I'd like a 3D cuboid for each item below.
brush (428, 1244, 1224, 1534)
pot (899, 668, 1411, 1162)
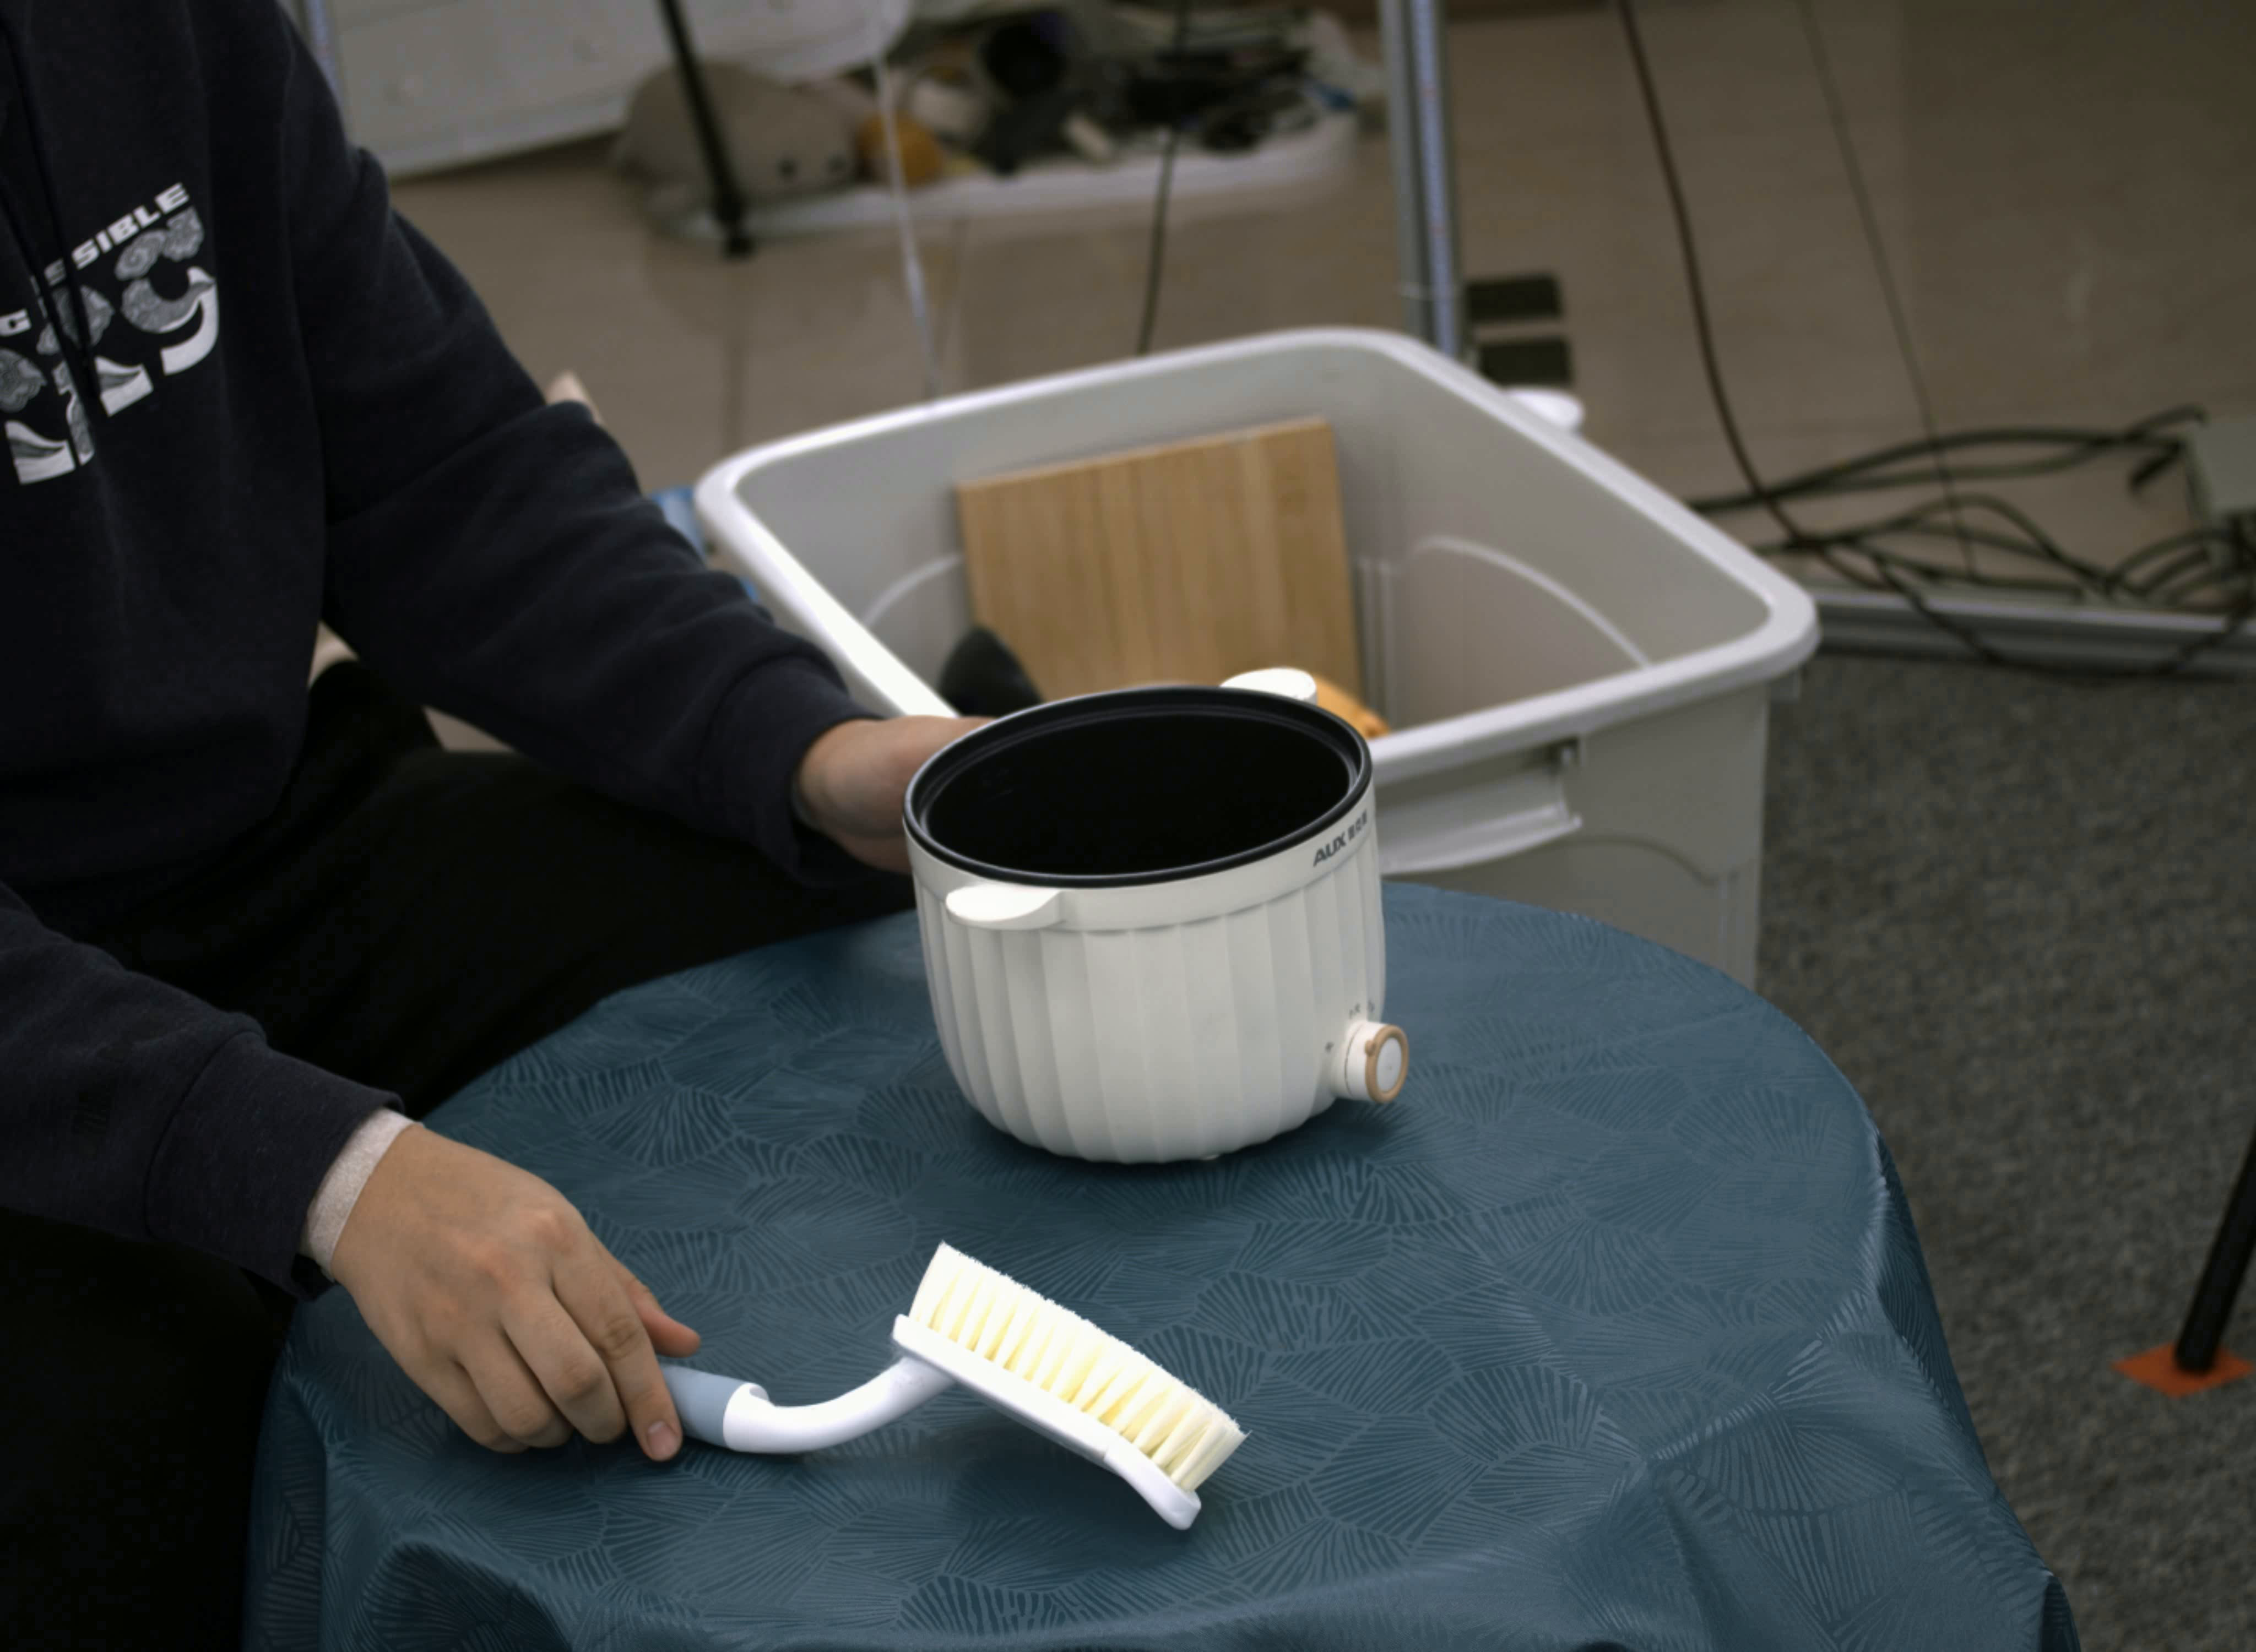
[{"bbox_3d":[-0.108,0.174,1.996,0.324,0.084,0.083,11,35,30],"label":"brush"},{"bbox_3d":[0.015,0.042,2.188,0.190,0.145,0.237,6,28,31],"label":"pot"}]
